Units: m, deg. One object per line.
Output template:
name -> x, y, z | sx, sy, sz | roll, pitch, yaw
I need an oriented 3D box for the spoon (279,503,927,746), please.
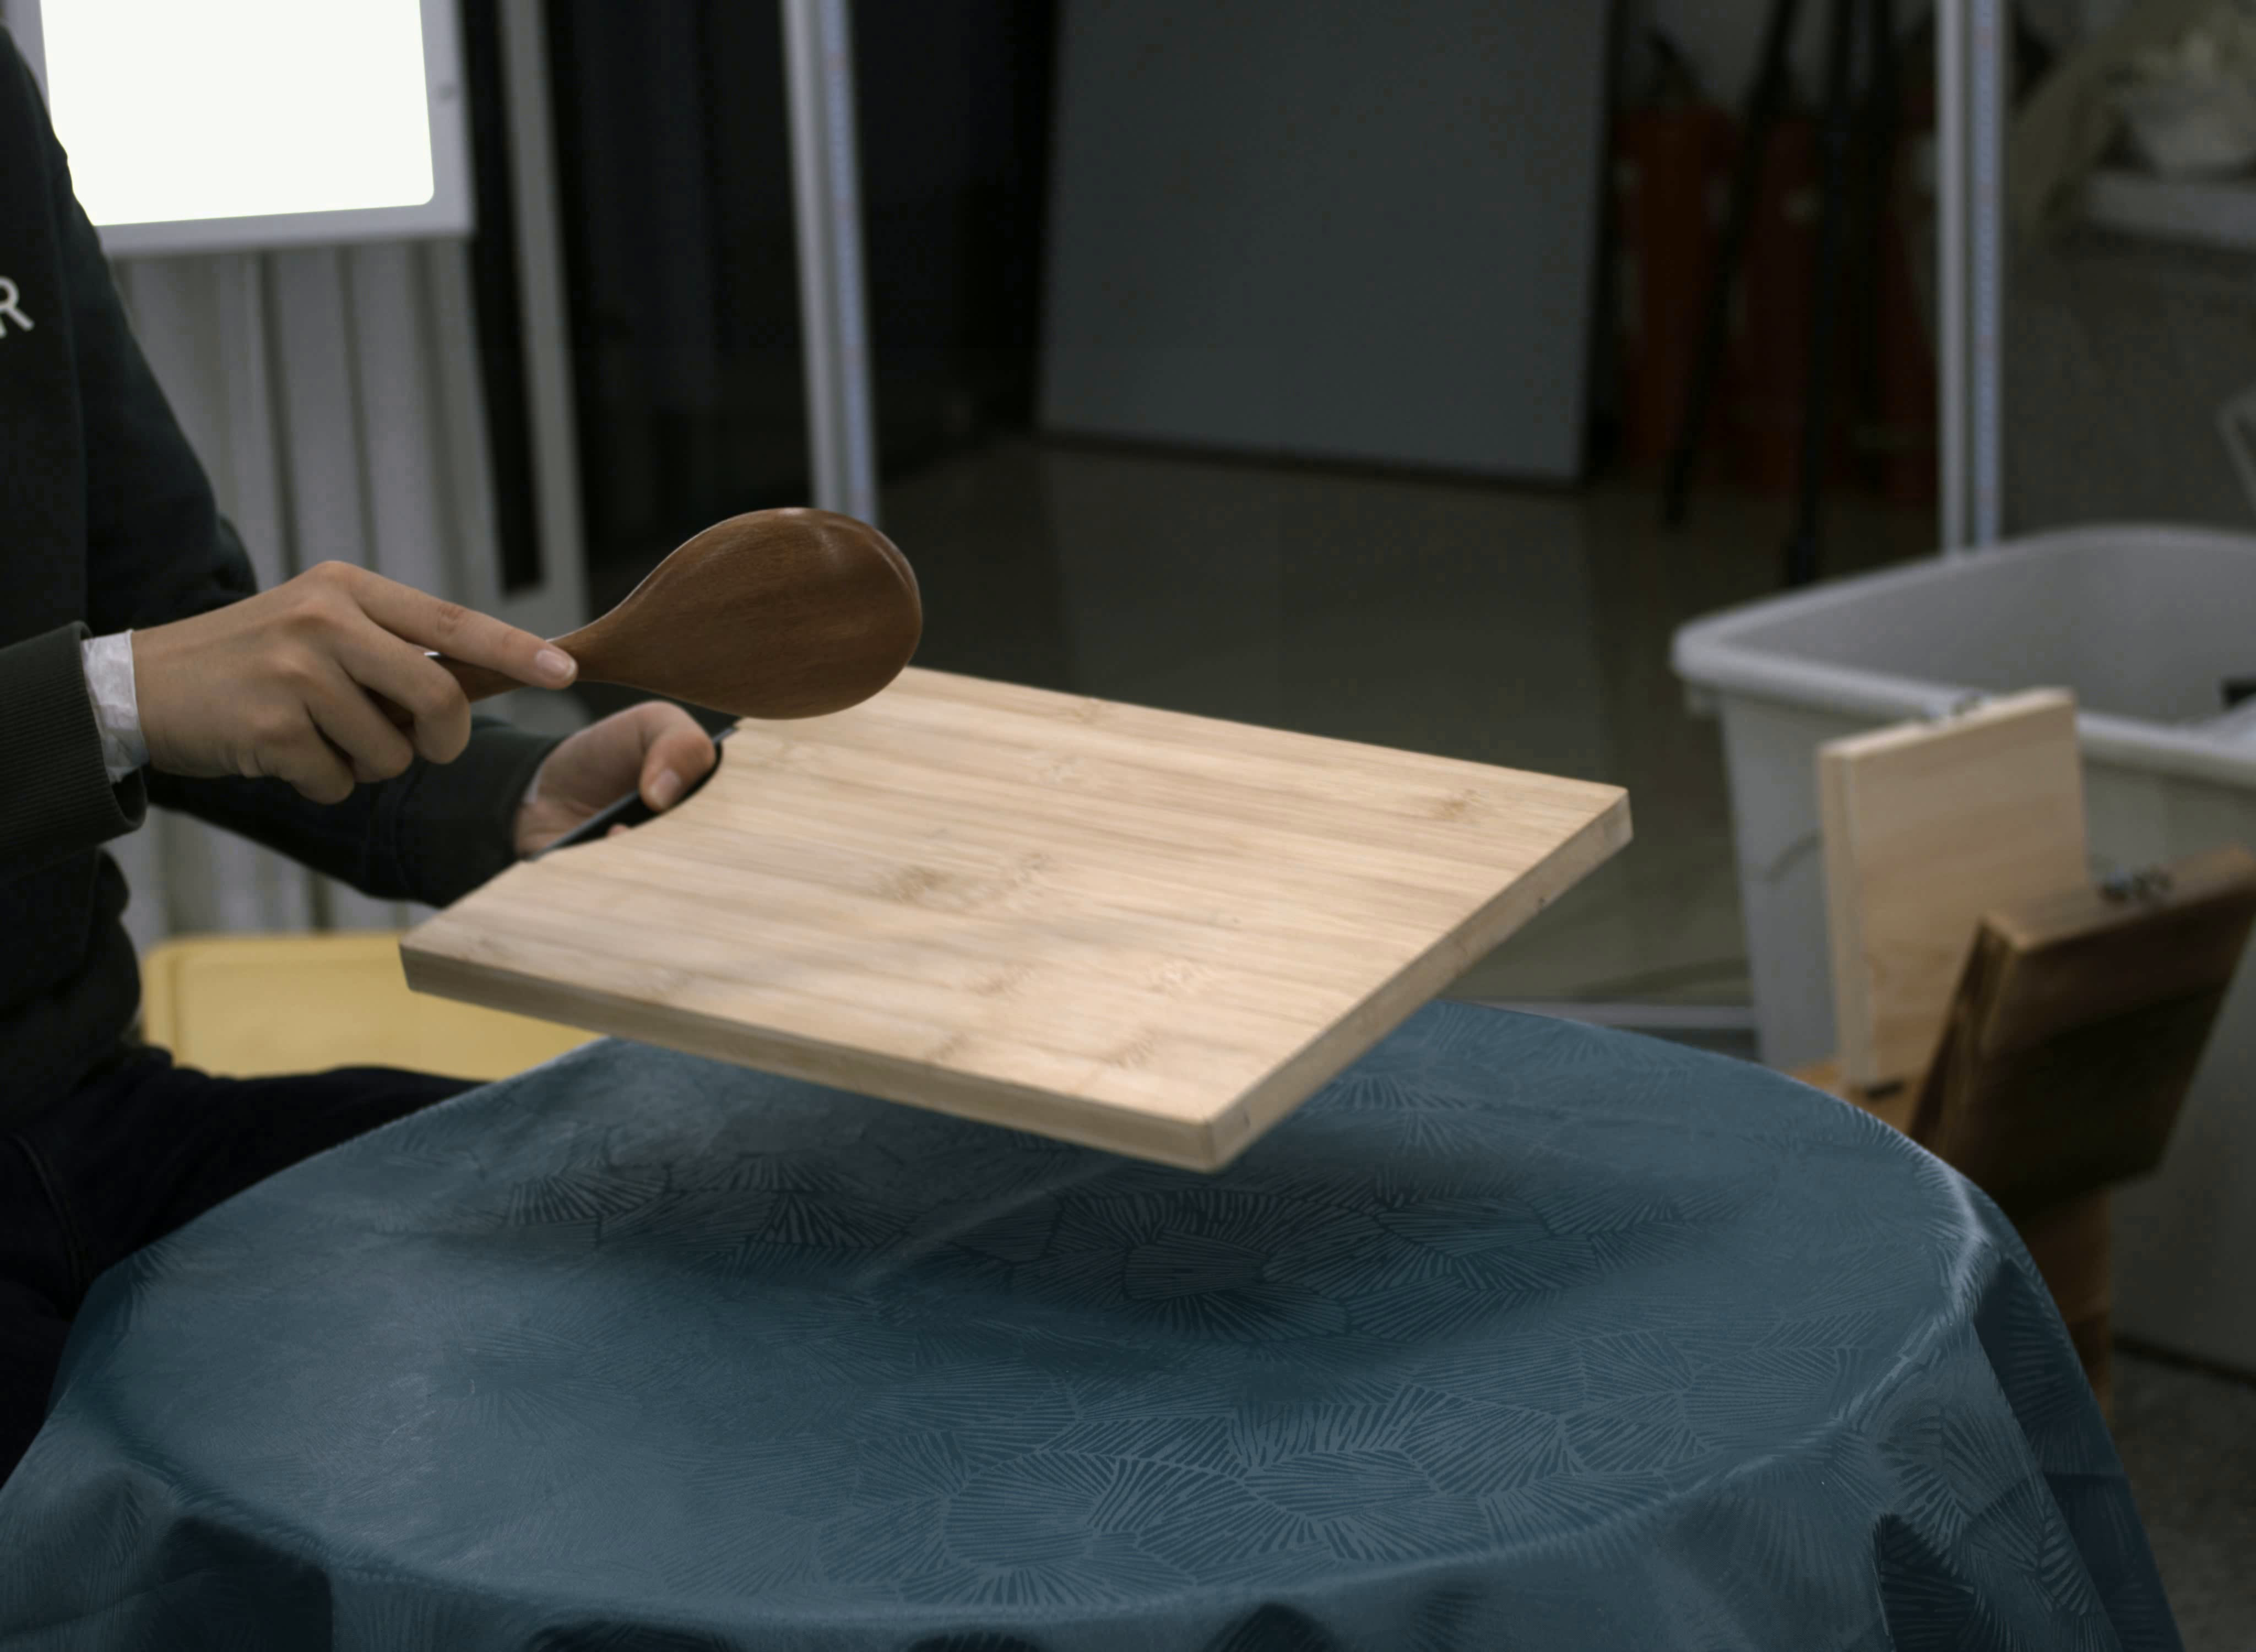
spoon -> -0.167, -0.055, 1.705 | 0.215, 0.075, 0.017 | -10, 33, 14

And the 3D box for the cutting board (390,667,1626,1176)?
cutting board -> -0.041, 0.022, 1.775 | 0.351, 0.024, 0.247 | 9, 31, 37
